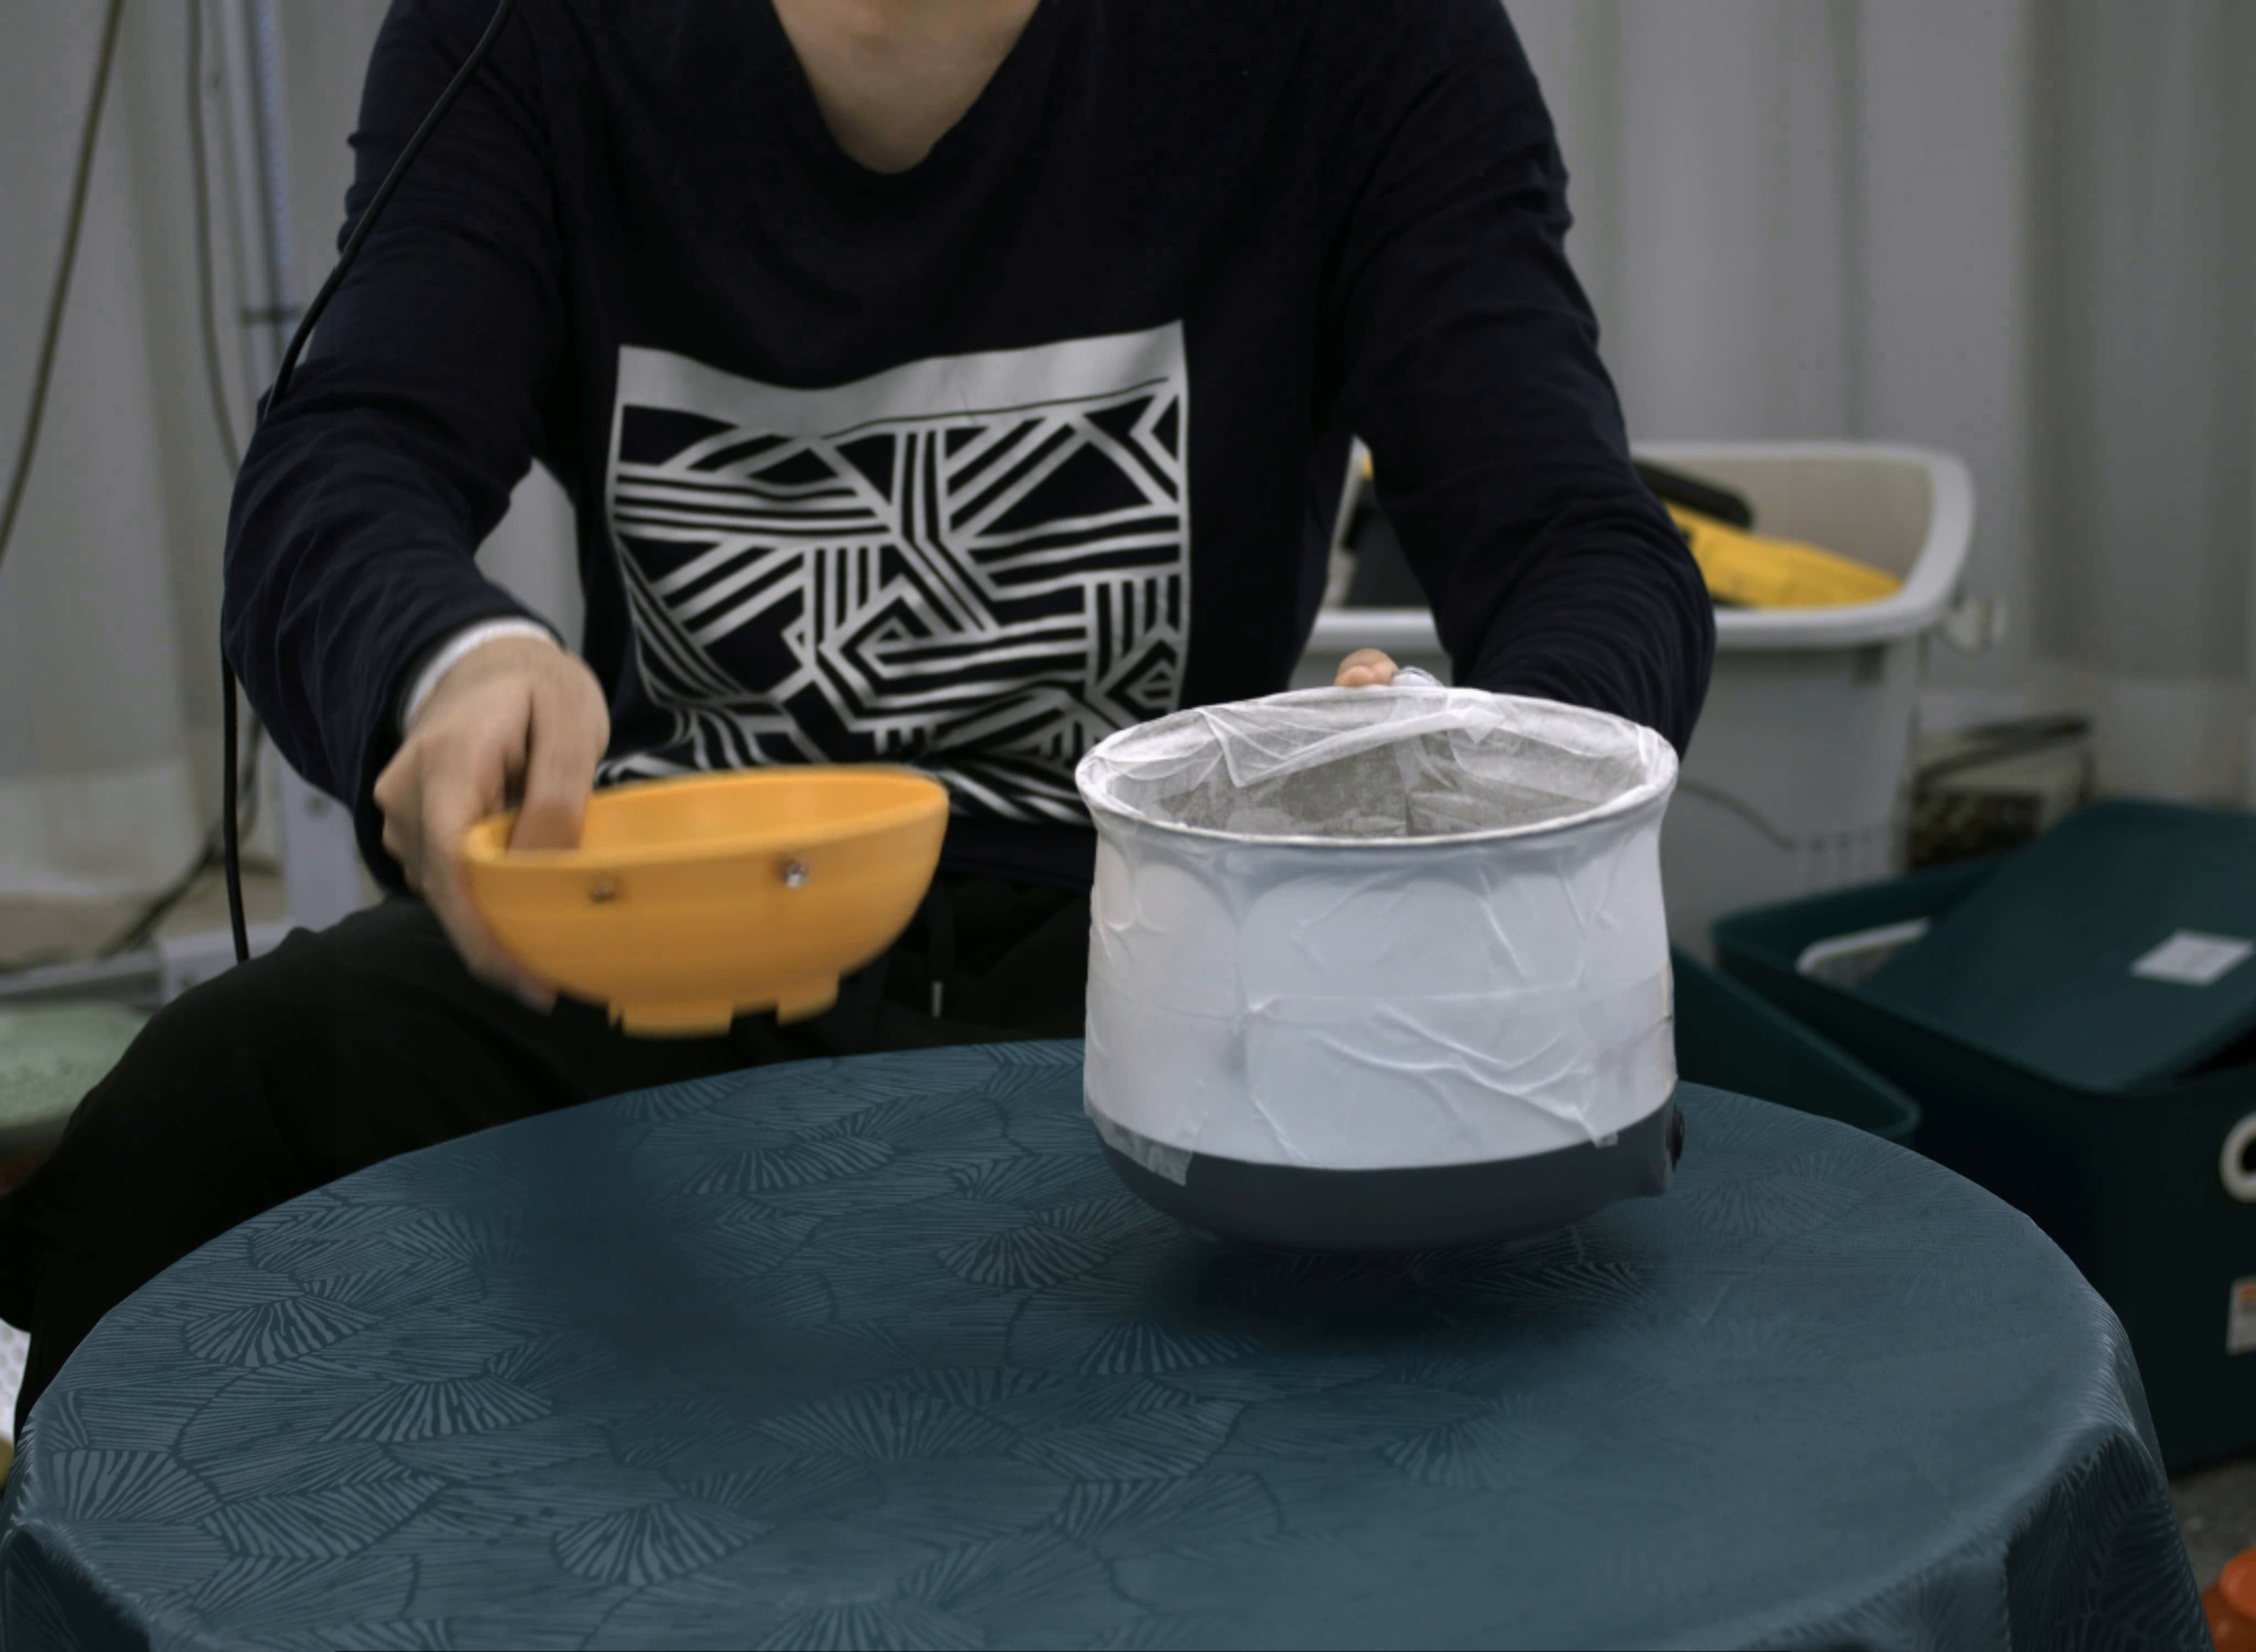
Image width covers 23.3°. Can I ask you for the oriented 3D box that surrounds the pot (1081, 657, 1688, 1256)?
[{"bbox_3d":[0.078,0.033,1.643,0.178,0.136,0.235,3,16,7],"label":"pot"}]

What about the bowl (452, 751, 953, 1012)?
[{"bbox_3d":[-0.120,0.018,1.577,0.145,0.060,0.146,-4,9,0],"label":"bowl"}]
